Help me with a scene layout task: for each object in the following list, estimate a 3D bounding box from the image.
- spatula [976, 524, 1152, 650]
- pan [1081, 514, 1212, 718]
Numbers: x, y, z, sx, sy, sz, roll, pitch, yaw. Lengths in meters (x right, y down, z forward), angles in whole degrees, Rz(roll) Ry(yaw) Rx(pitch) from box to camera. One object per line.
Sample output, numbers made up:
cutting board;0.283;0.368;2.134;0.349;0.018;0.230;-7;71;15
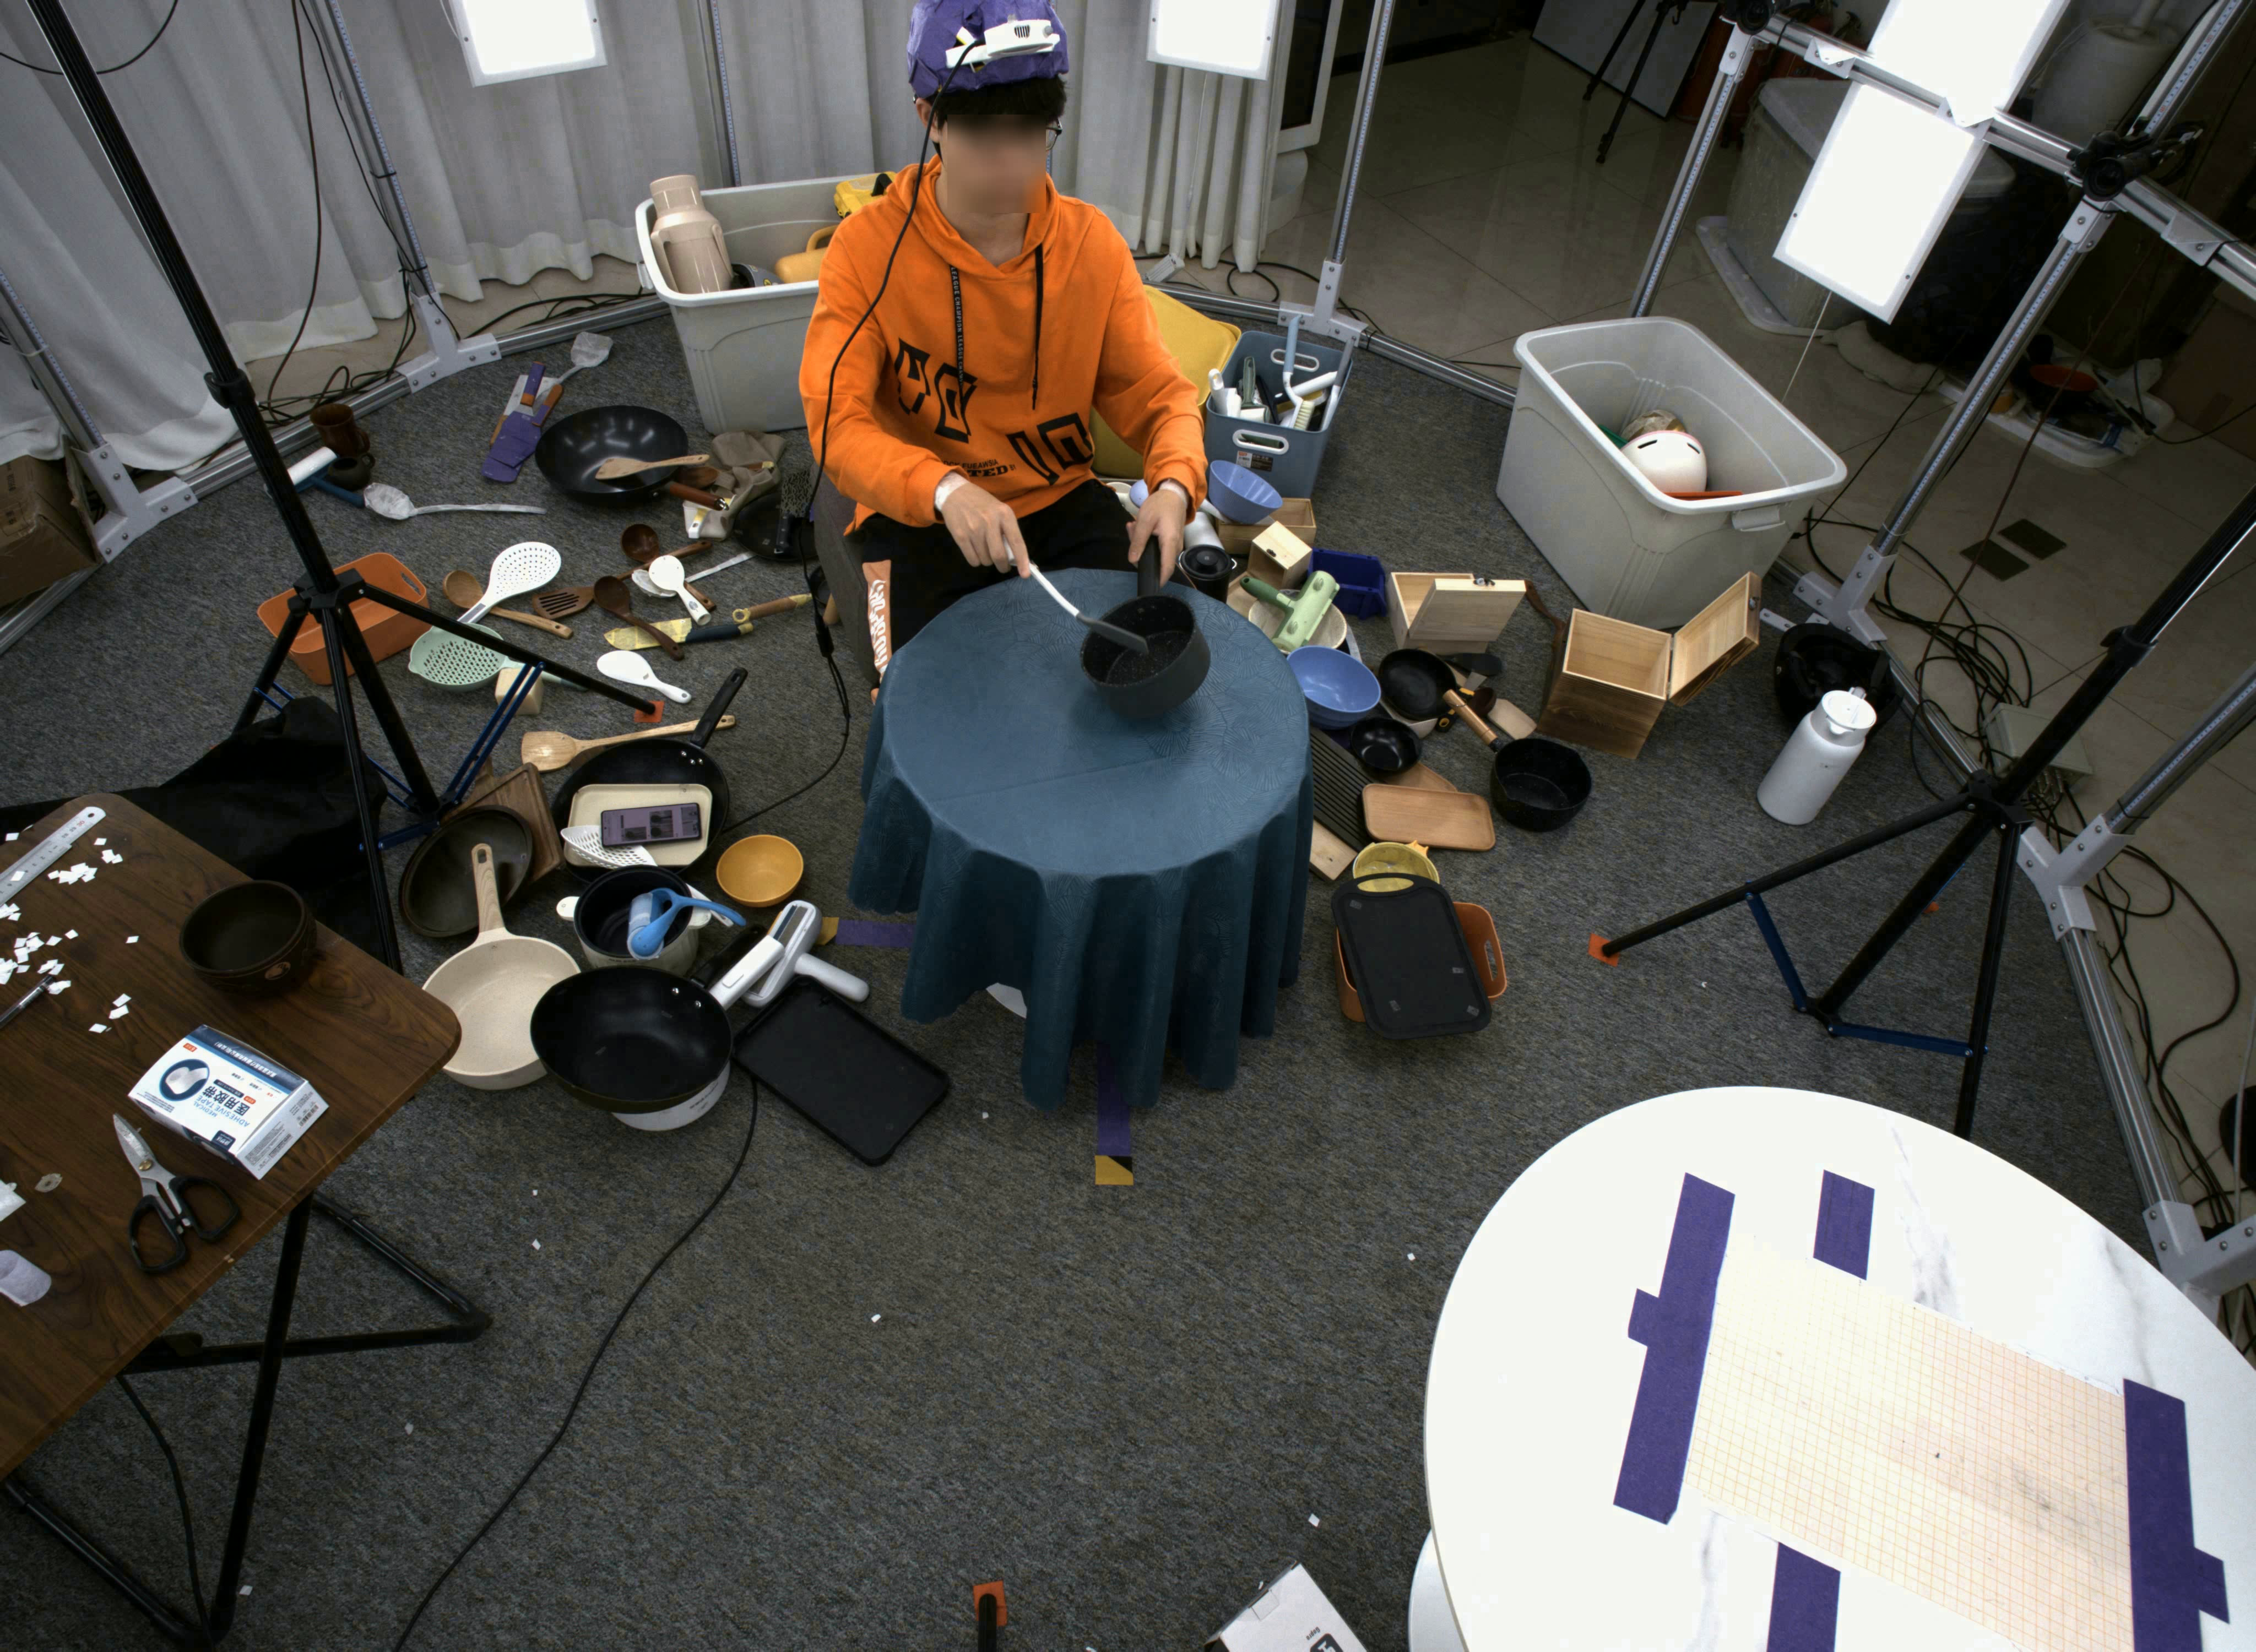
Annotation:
spatula;-0.087;-0.314;1.719;0.290;0.058;0.032;37;82;17
pan;0.035;-0.299;1.819;0.172;0.084;0.336;-8;51;22
